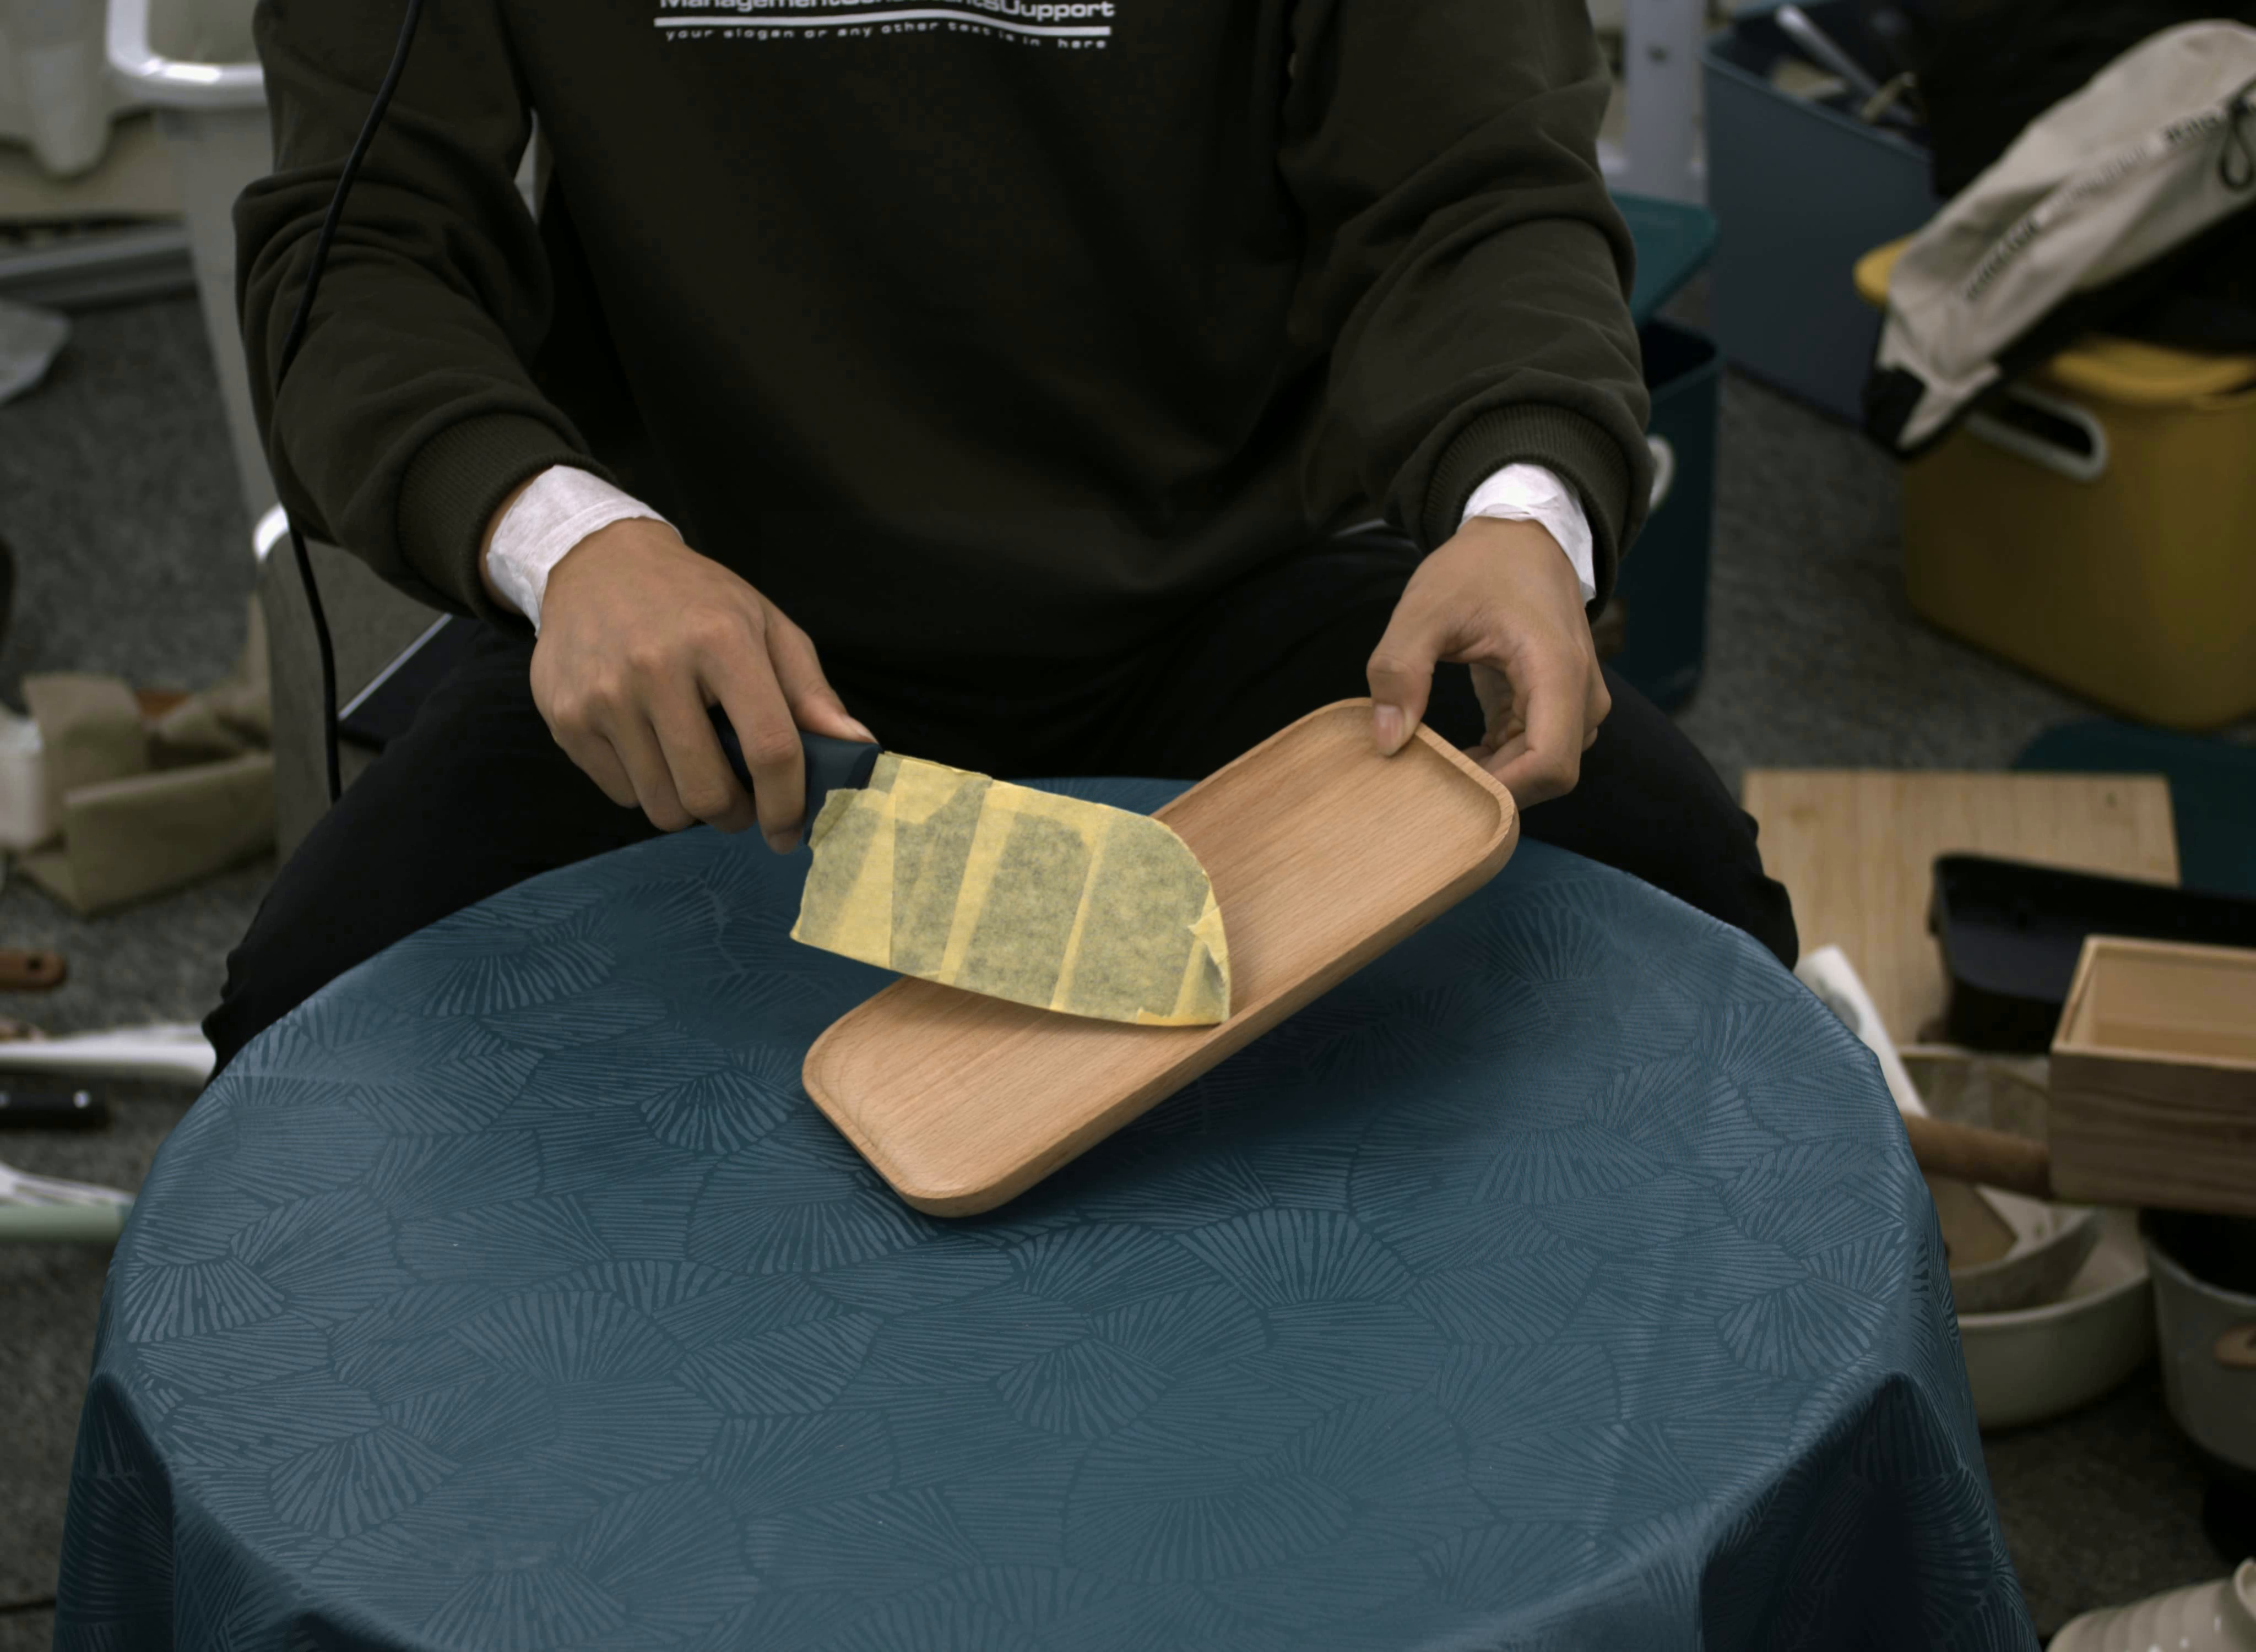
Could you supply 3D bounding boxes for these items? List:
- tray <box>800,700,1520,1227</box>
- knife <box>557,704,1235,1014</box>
[{"bbox_3d":[0.011,0.045,1.908,0.252,0.022,0.131,-34,33,-13],"label":"tray"},{"bbox_3d":[-0.084,0.009,1.937,0.288,0.081,0.027,16,-7,30],"label":"knife"}]
